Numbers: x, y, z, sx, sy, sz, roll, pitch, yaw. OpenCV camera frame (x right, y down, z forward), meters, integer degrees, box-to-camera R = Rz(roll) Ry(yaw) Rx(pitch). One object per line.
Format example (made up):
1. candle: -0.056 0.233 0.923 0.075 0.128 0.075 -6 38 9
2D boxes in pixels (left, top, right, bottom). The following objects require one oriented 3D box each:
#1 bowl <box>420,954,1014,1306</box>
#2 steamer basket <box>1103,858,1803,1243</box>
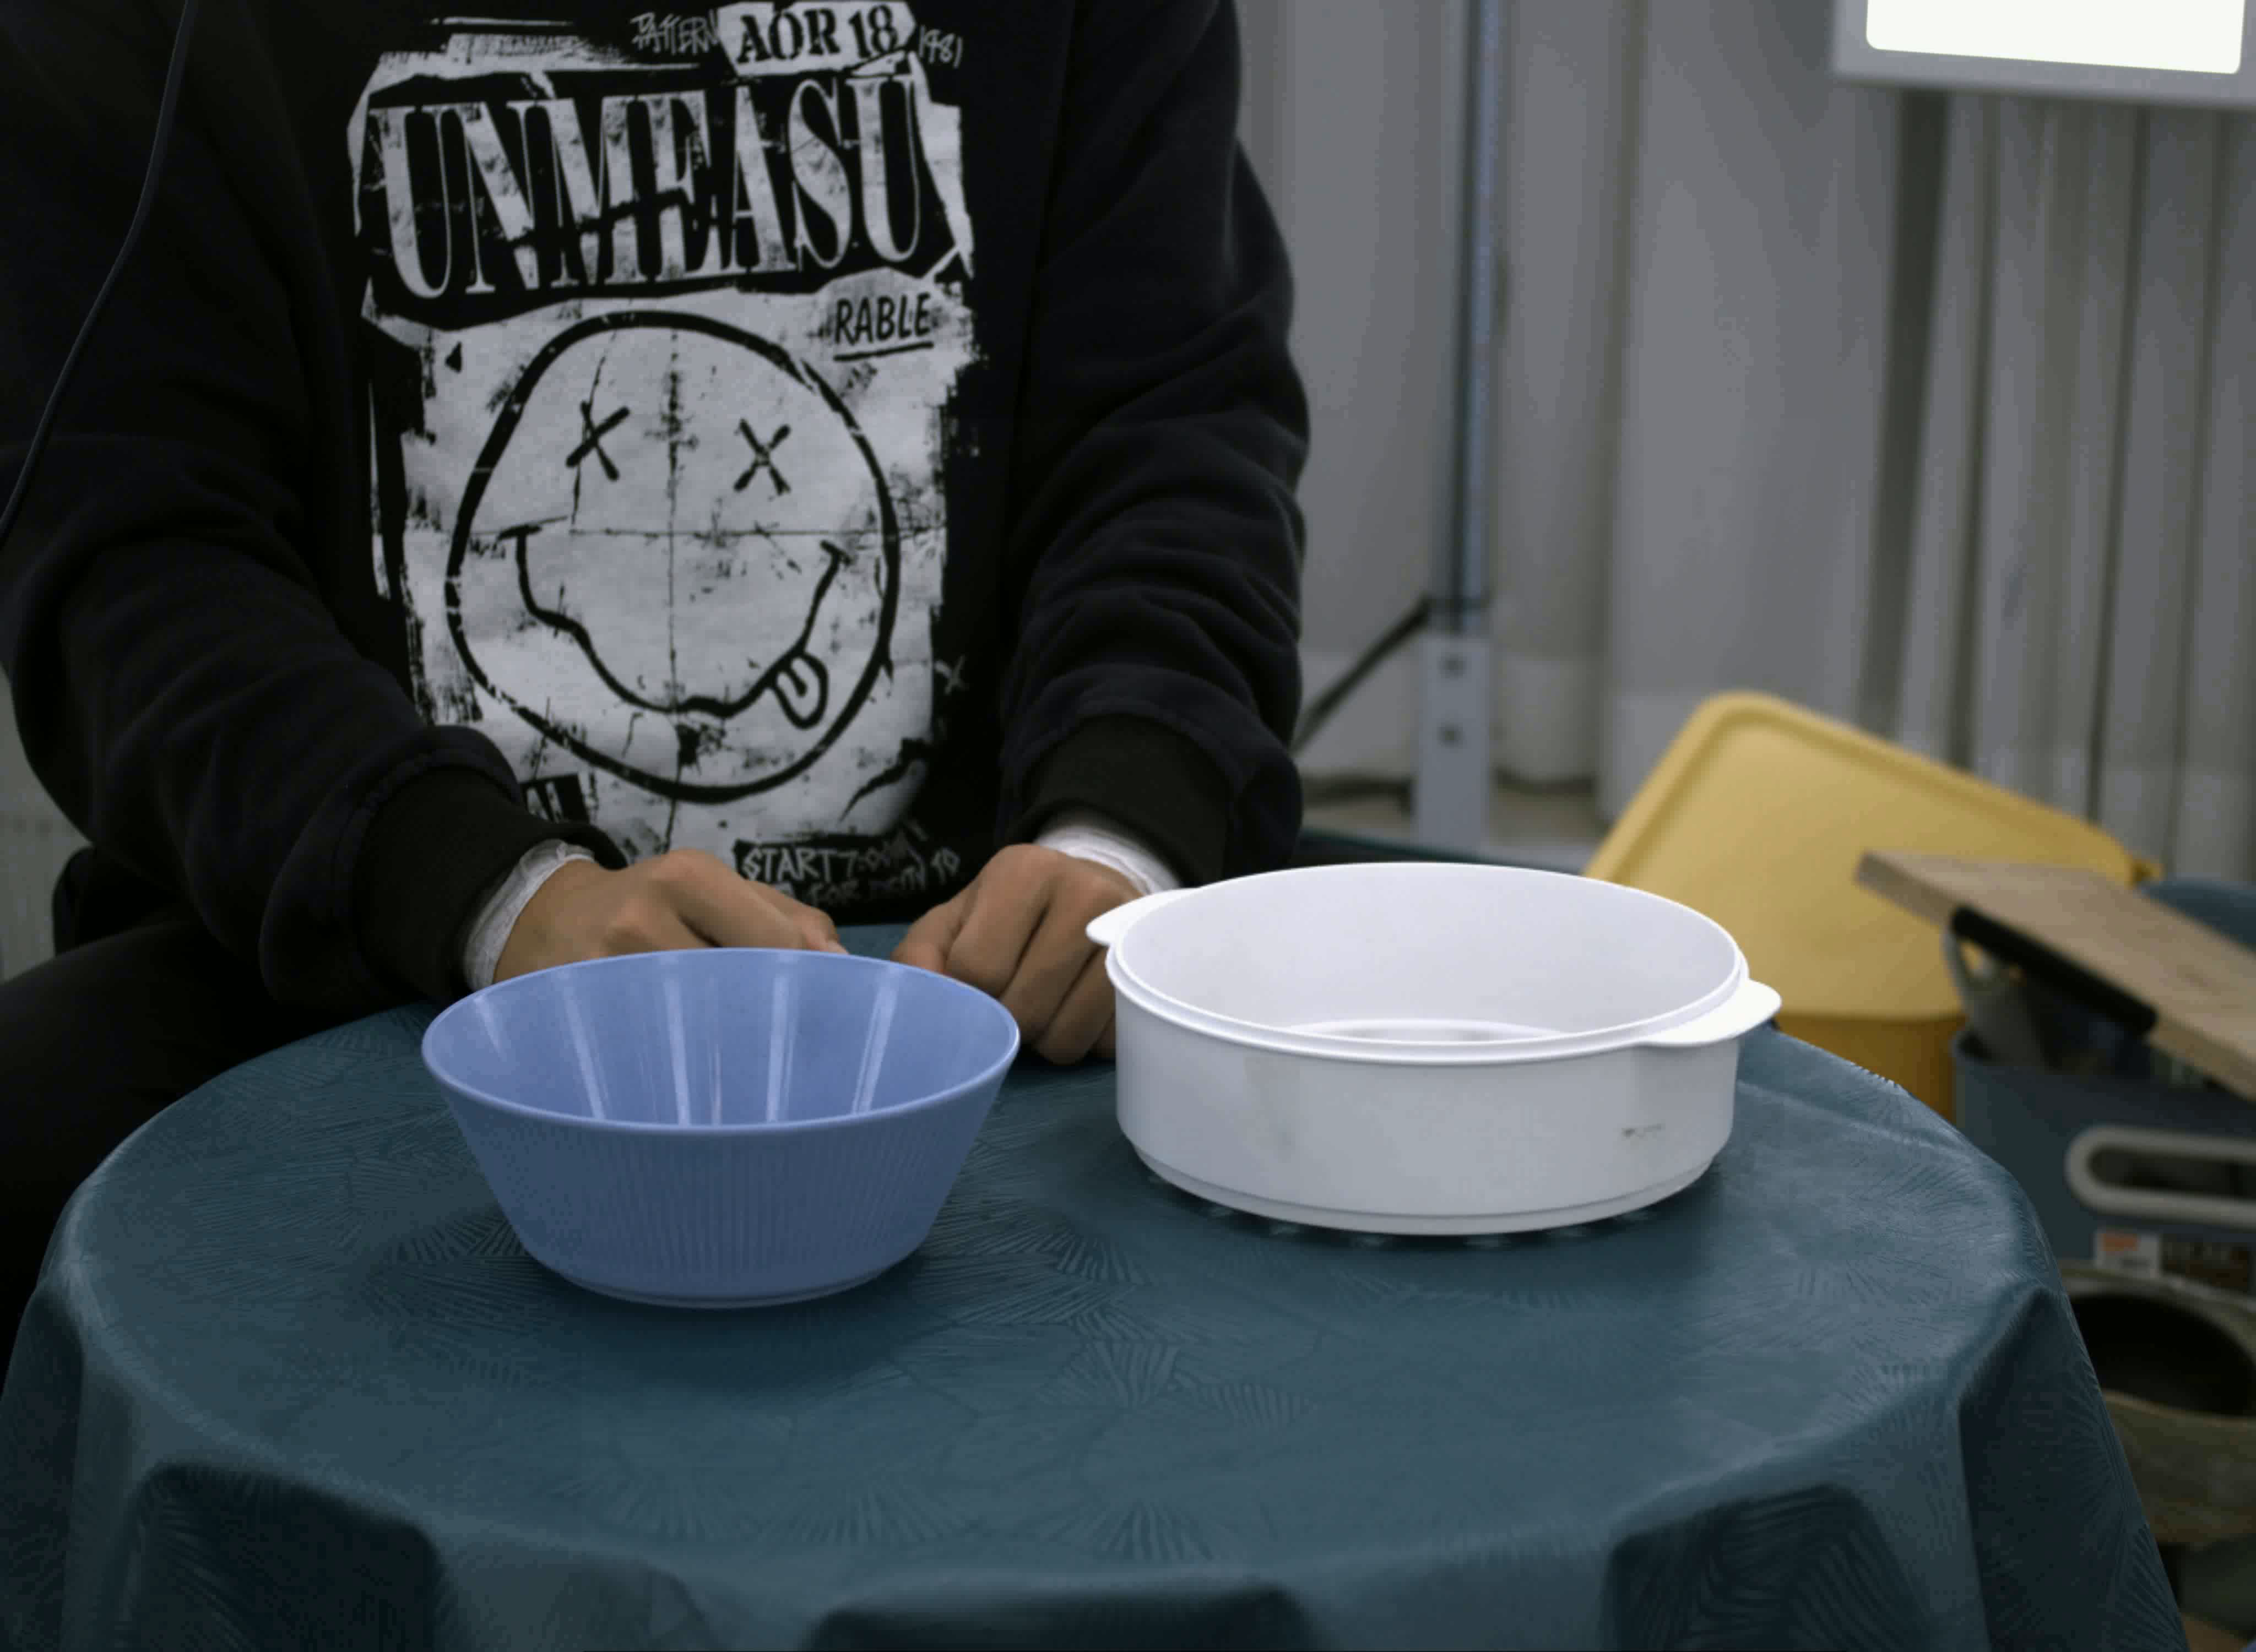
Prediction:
1. bowl: -0.122 0.092 1.563 0.175 0.071 0.175 2 15 0
2. steamer basket: 0.098 0.070 1.654 0.228 0.070 0.202 12 20 29
